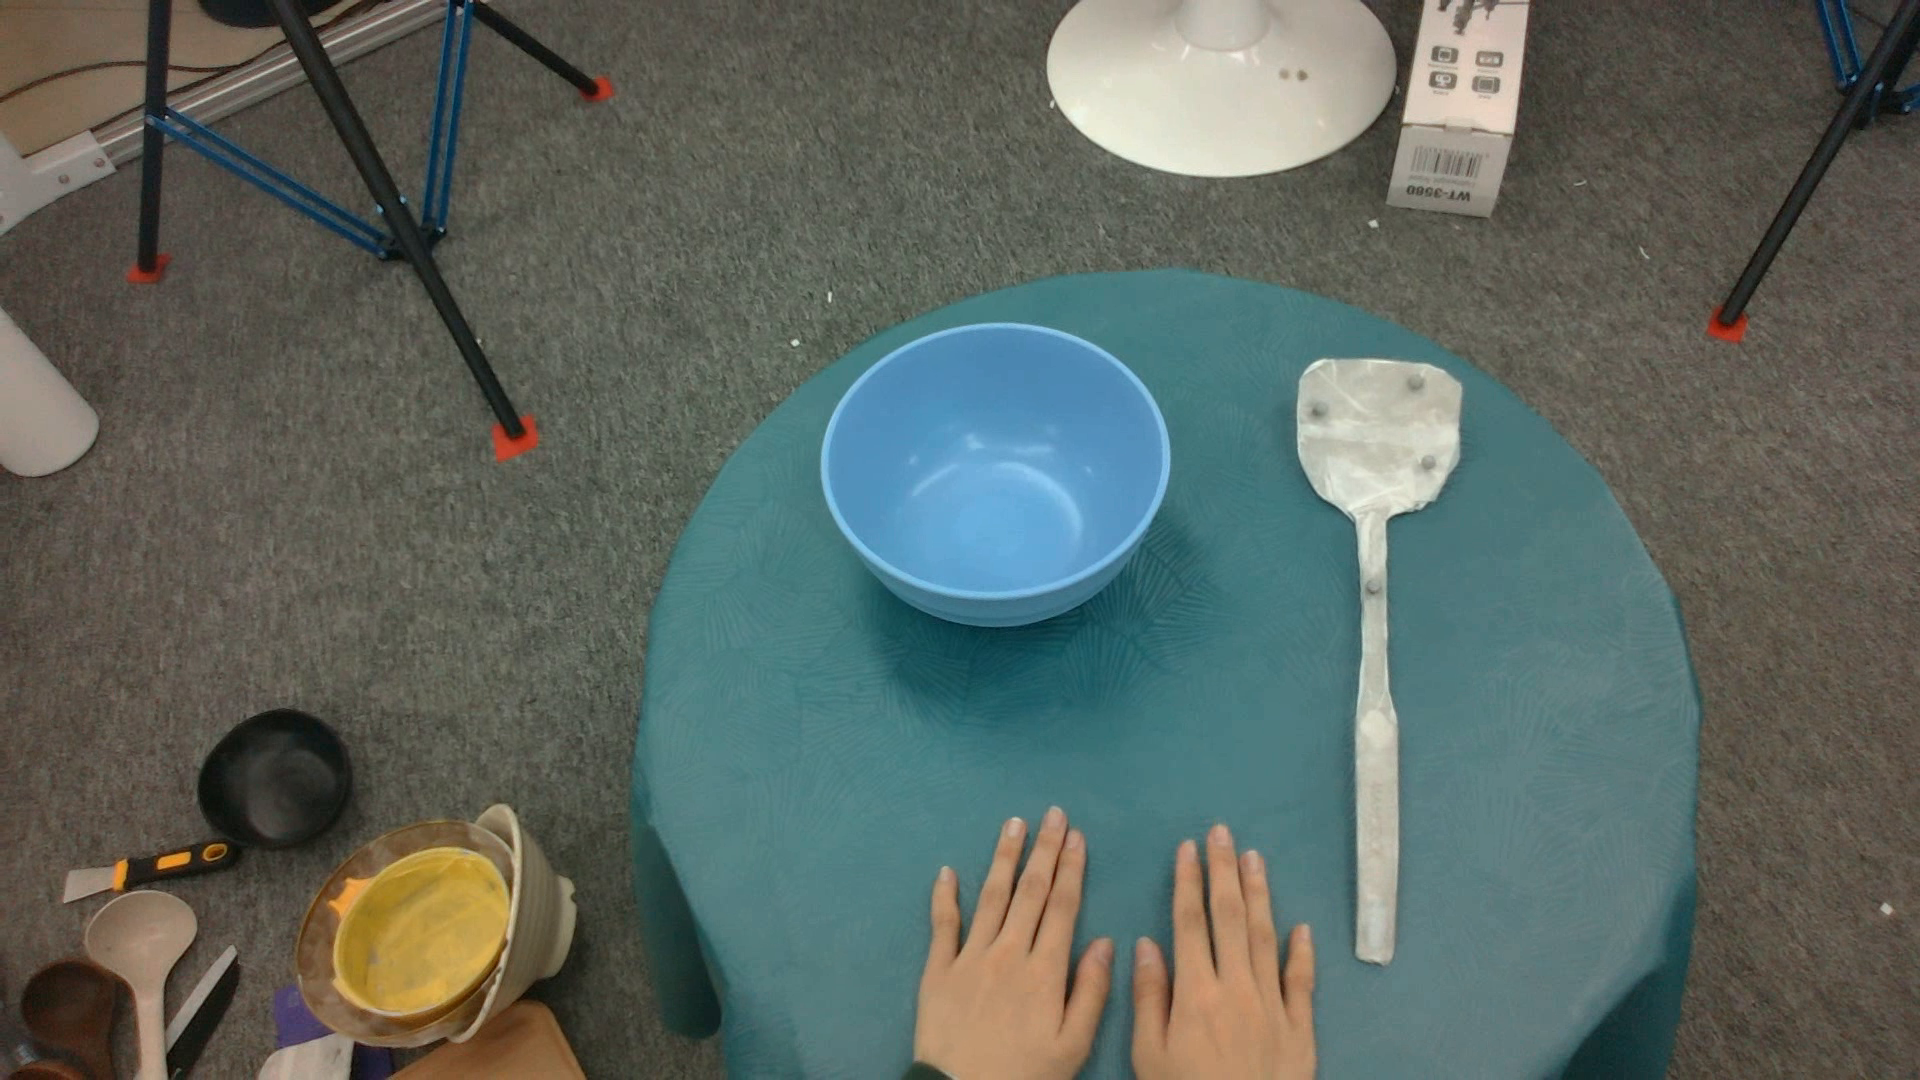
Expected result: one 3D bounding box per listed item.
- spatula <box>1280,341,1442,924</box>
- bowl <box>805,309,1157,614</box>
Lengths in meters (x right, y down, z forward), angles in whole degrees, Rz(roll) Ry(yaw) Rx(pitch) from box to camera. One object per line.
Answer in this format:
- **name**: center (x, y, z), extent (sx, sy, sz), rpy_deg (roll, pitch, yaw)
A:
- **spatula**: center (0.222, 0.037, 0.782), extent (0.098, 0.044, 0.366), rpy_deg (8, 56, 6)
- **bowl**: center (0.012, -0.032, 0.806), extent (0.196, 0.095, 0.197), rpy_deg (0, 54, 1)
